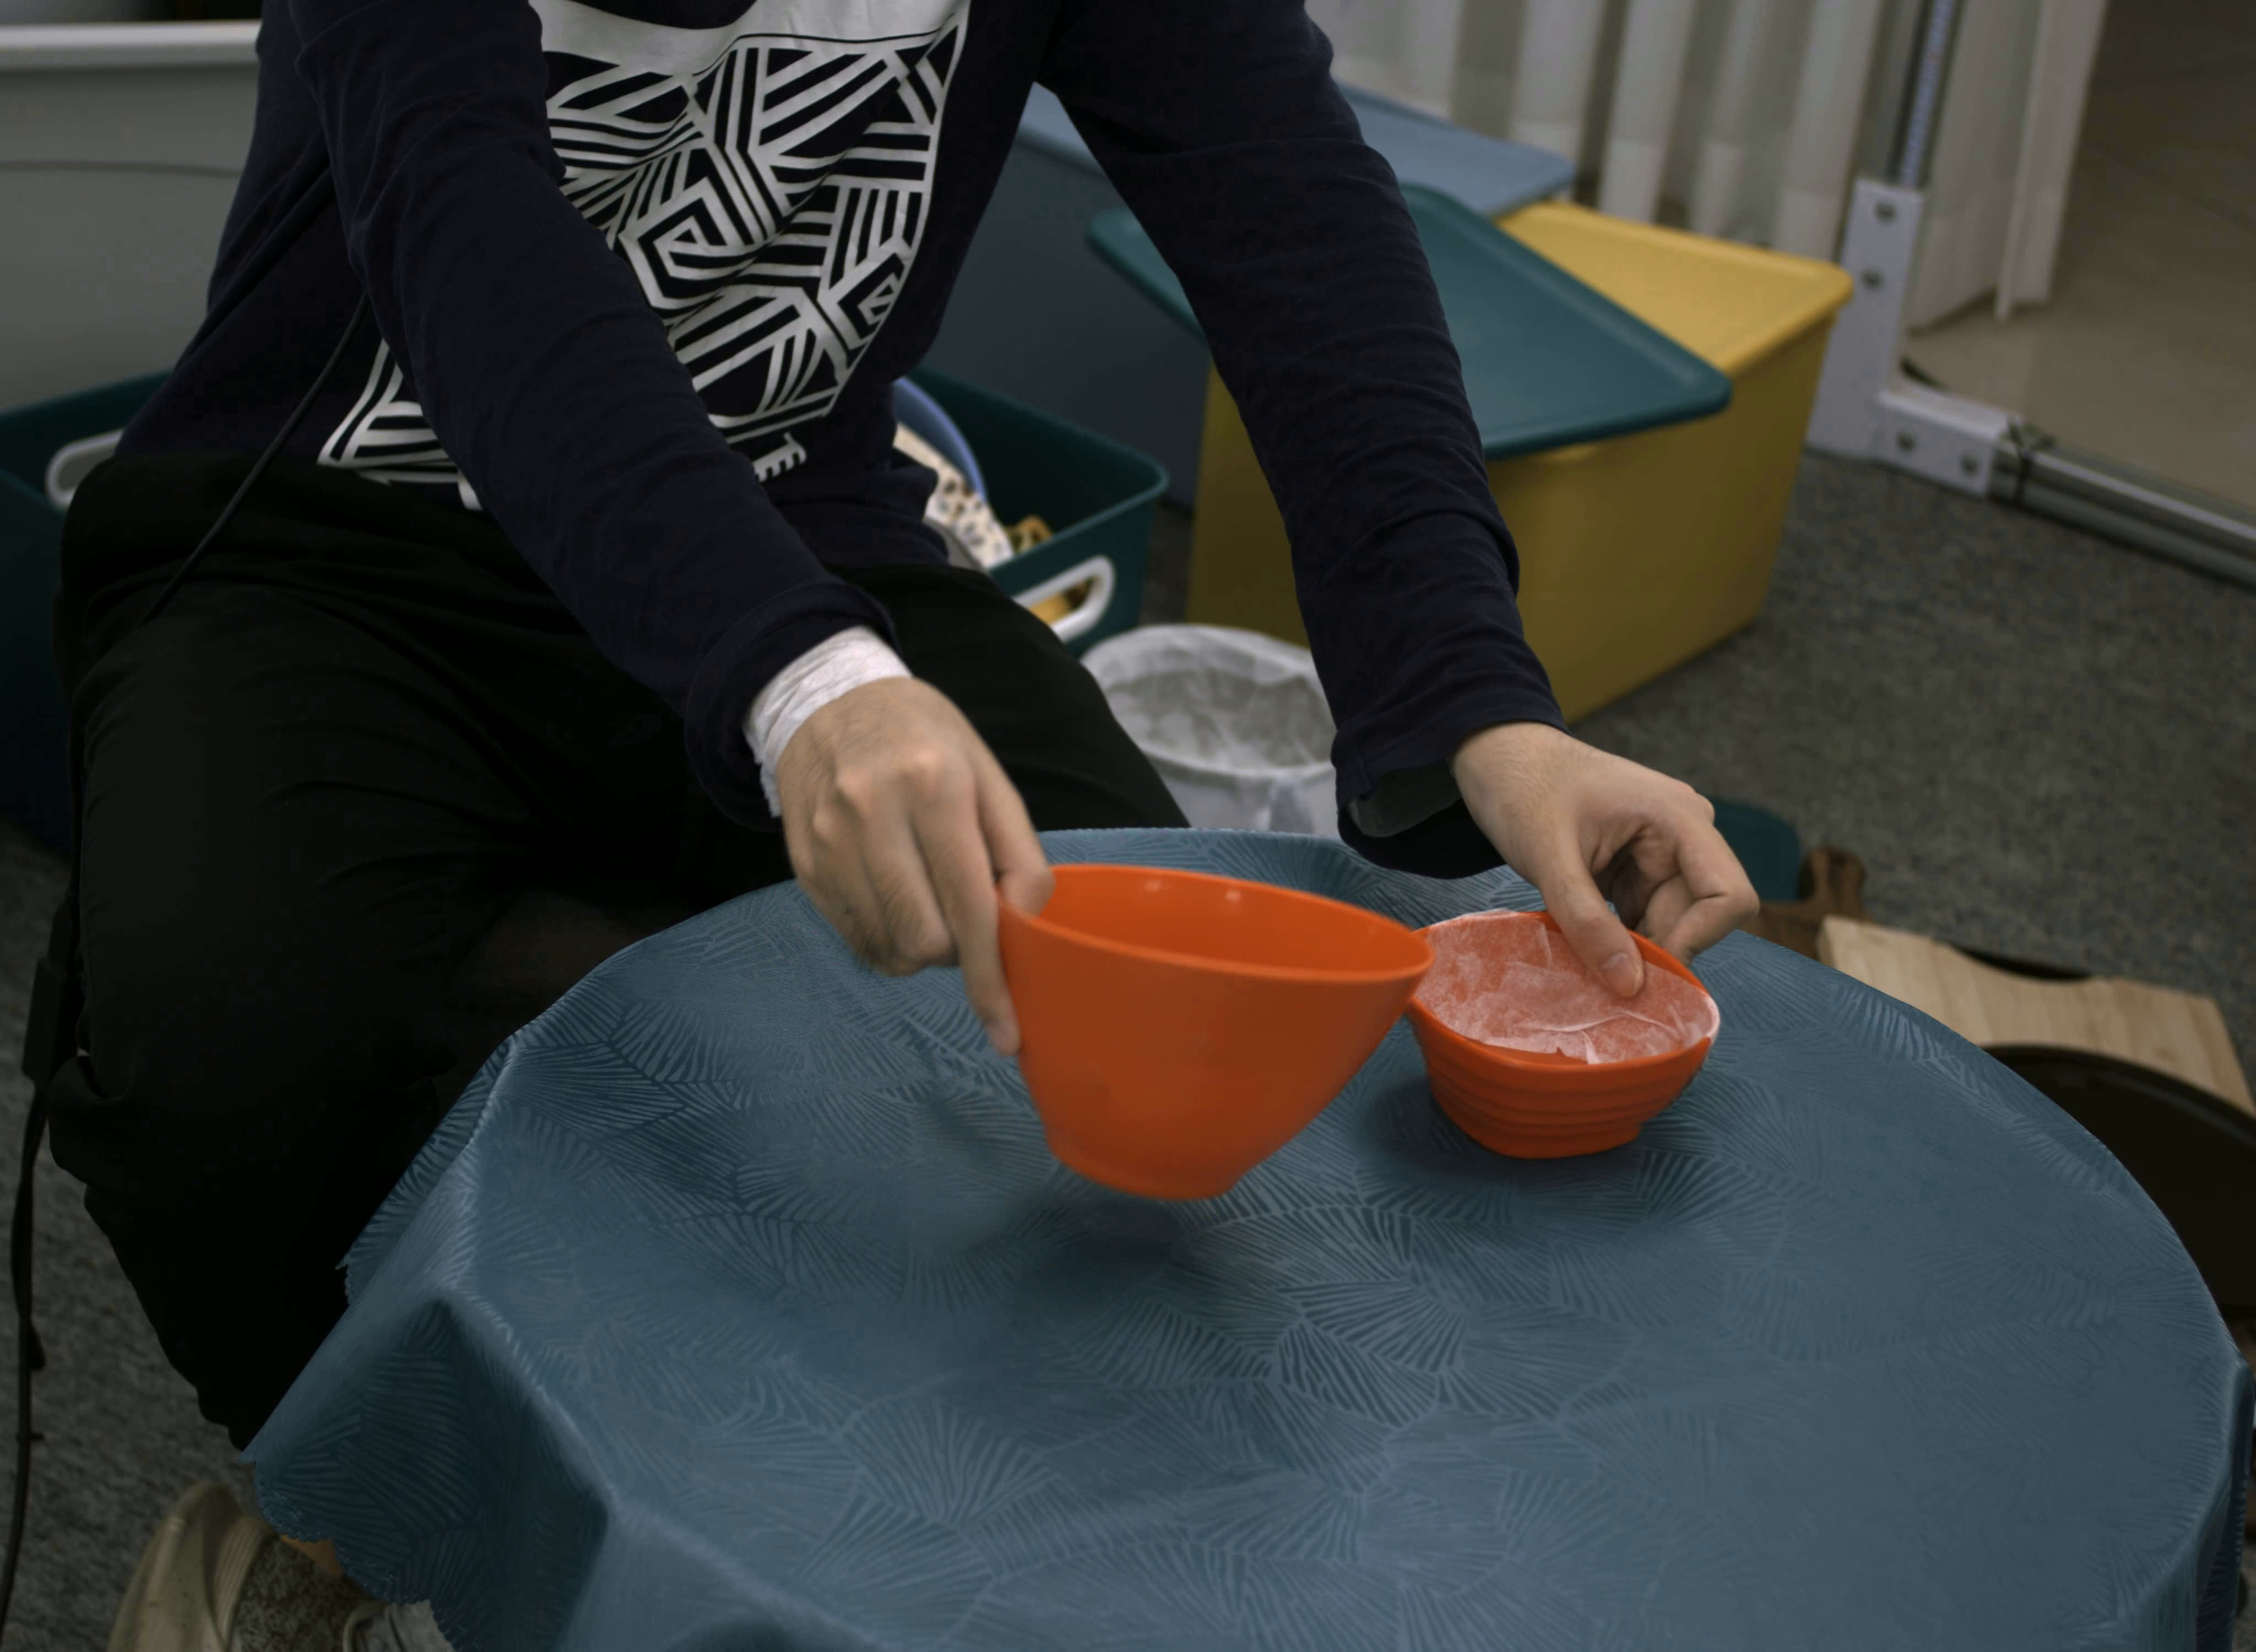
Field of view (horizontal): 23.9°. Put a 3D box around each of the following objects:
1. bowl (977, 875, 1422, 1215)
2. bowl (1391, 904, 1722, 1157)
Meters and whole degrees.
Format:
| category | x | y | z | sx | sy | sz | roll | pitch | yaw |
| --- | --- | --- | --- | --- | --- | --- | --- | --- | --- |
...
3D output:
| category | x | y | z | sx | sy | sz | roll | pitch | yaw |
| --- | --- | --- | --- | --- | --- | --- | --- | --- | --- |
| bowl | 0.015 | 0.073 | 1.752 | 0.147 | 0.104 | 0.148 | 11 | 19 | -4 |
| bowl | 0.147 | 0.076 | 1.873 | 0.118 | 0.051 | 0.119 | 5 | 28 | -3 |
